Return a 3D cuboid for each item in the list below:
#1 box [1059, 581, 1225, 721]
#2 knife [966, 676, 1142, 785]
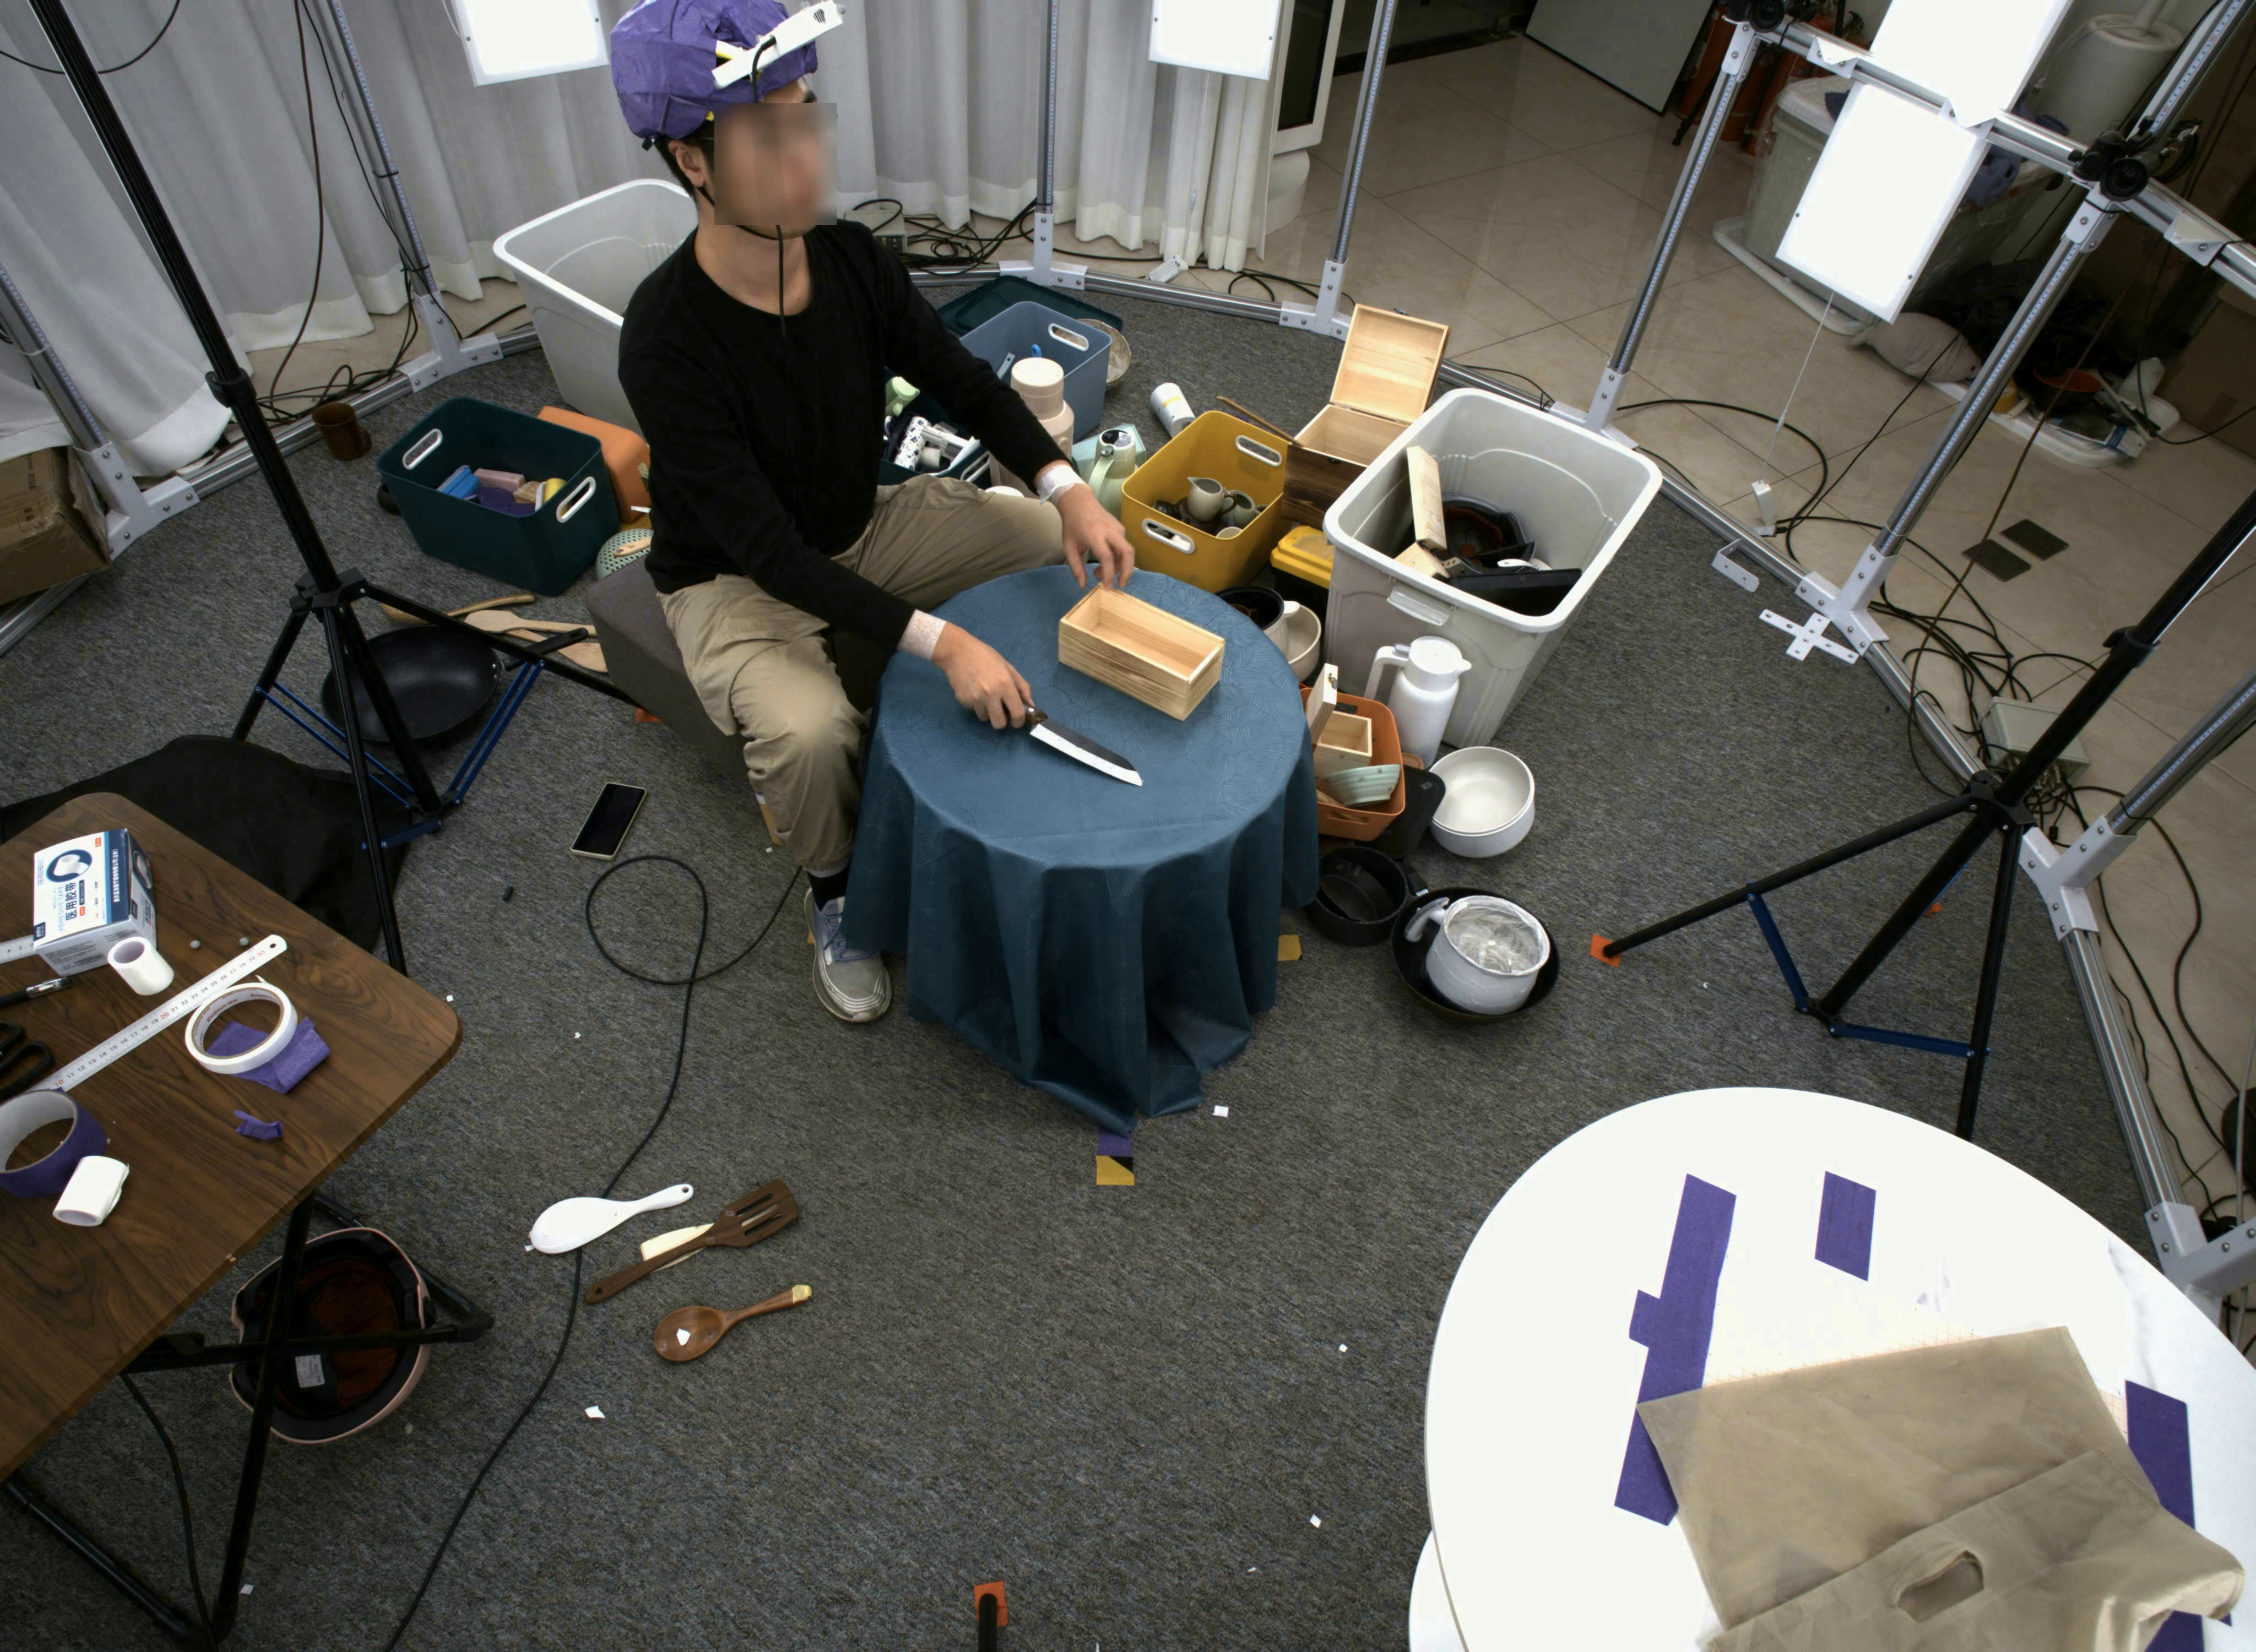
[{"bbox_3d":[0.018,-0.252,1.839,0.213,0.078,0.109,28,53,18],"label":"box"},{"bbox_3d":[-0.103,-0.129,1.753,0.291,0.019,0.051,31,51,13],"label":"knife"}]
